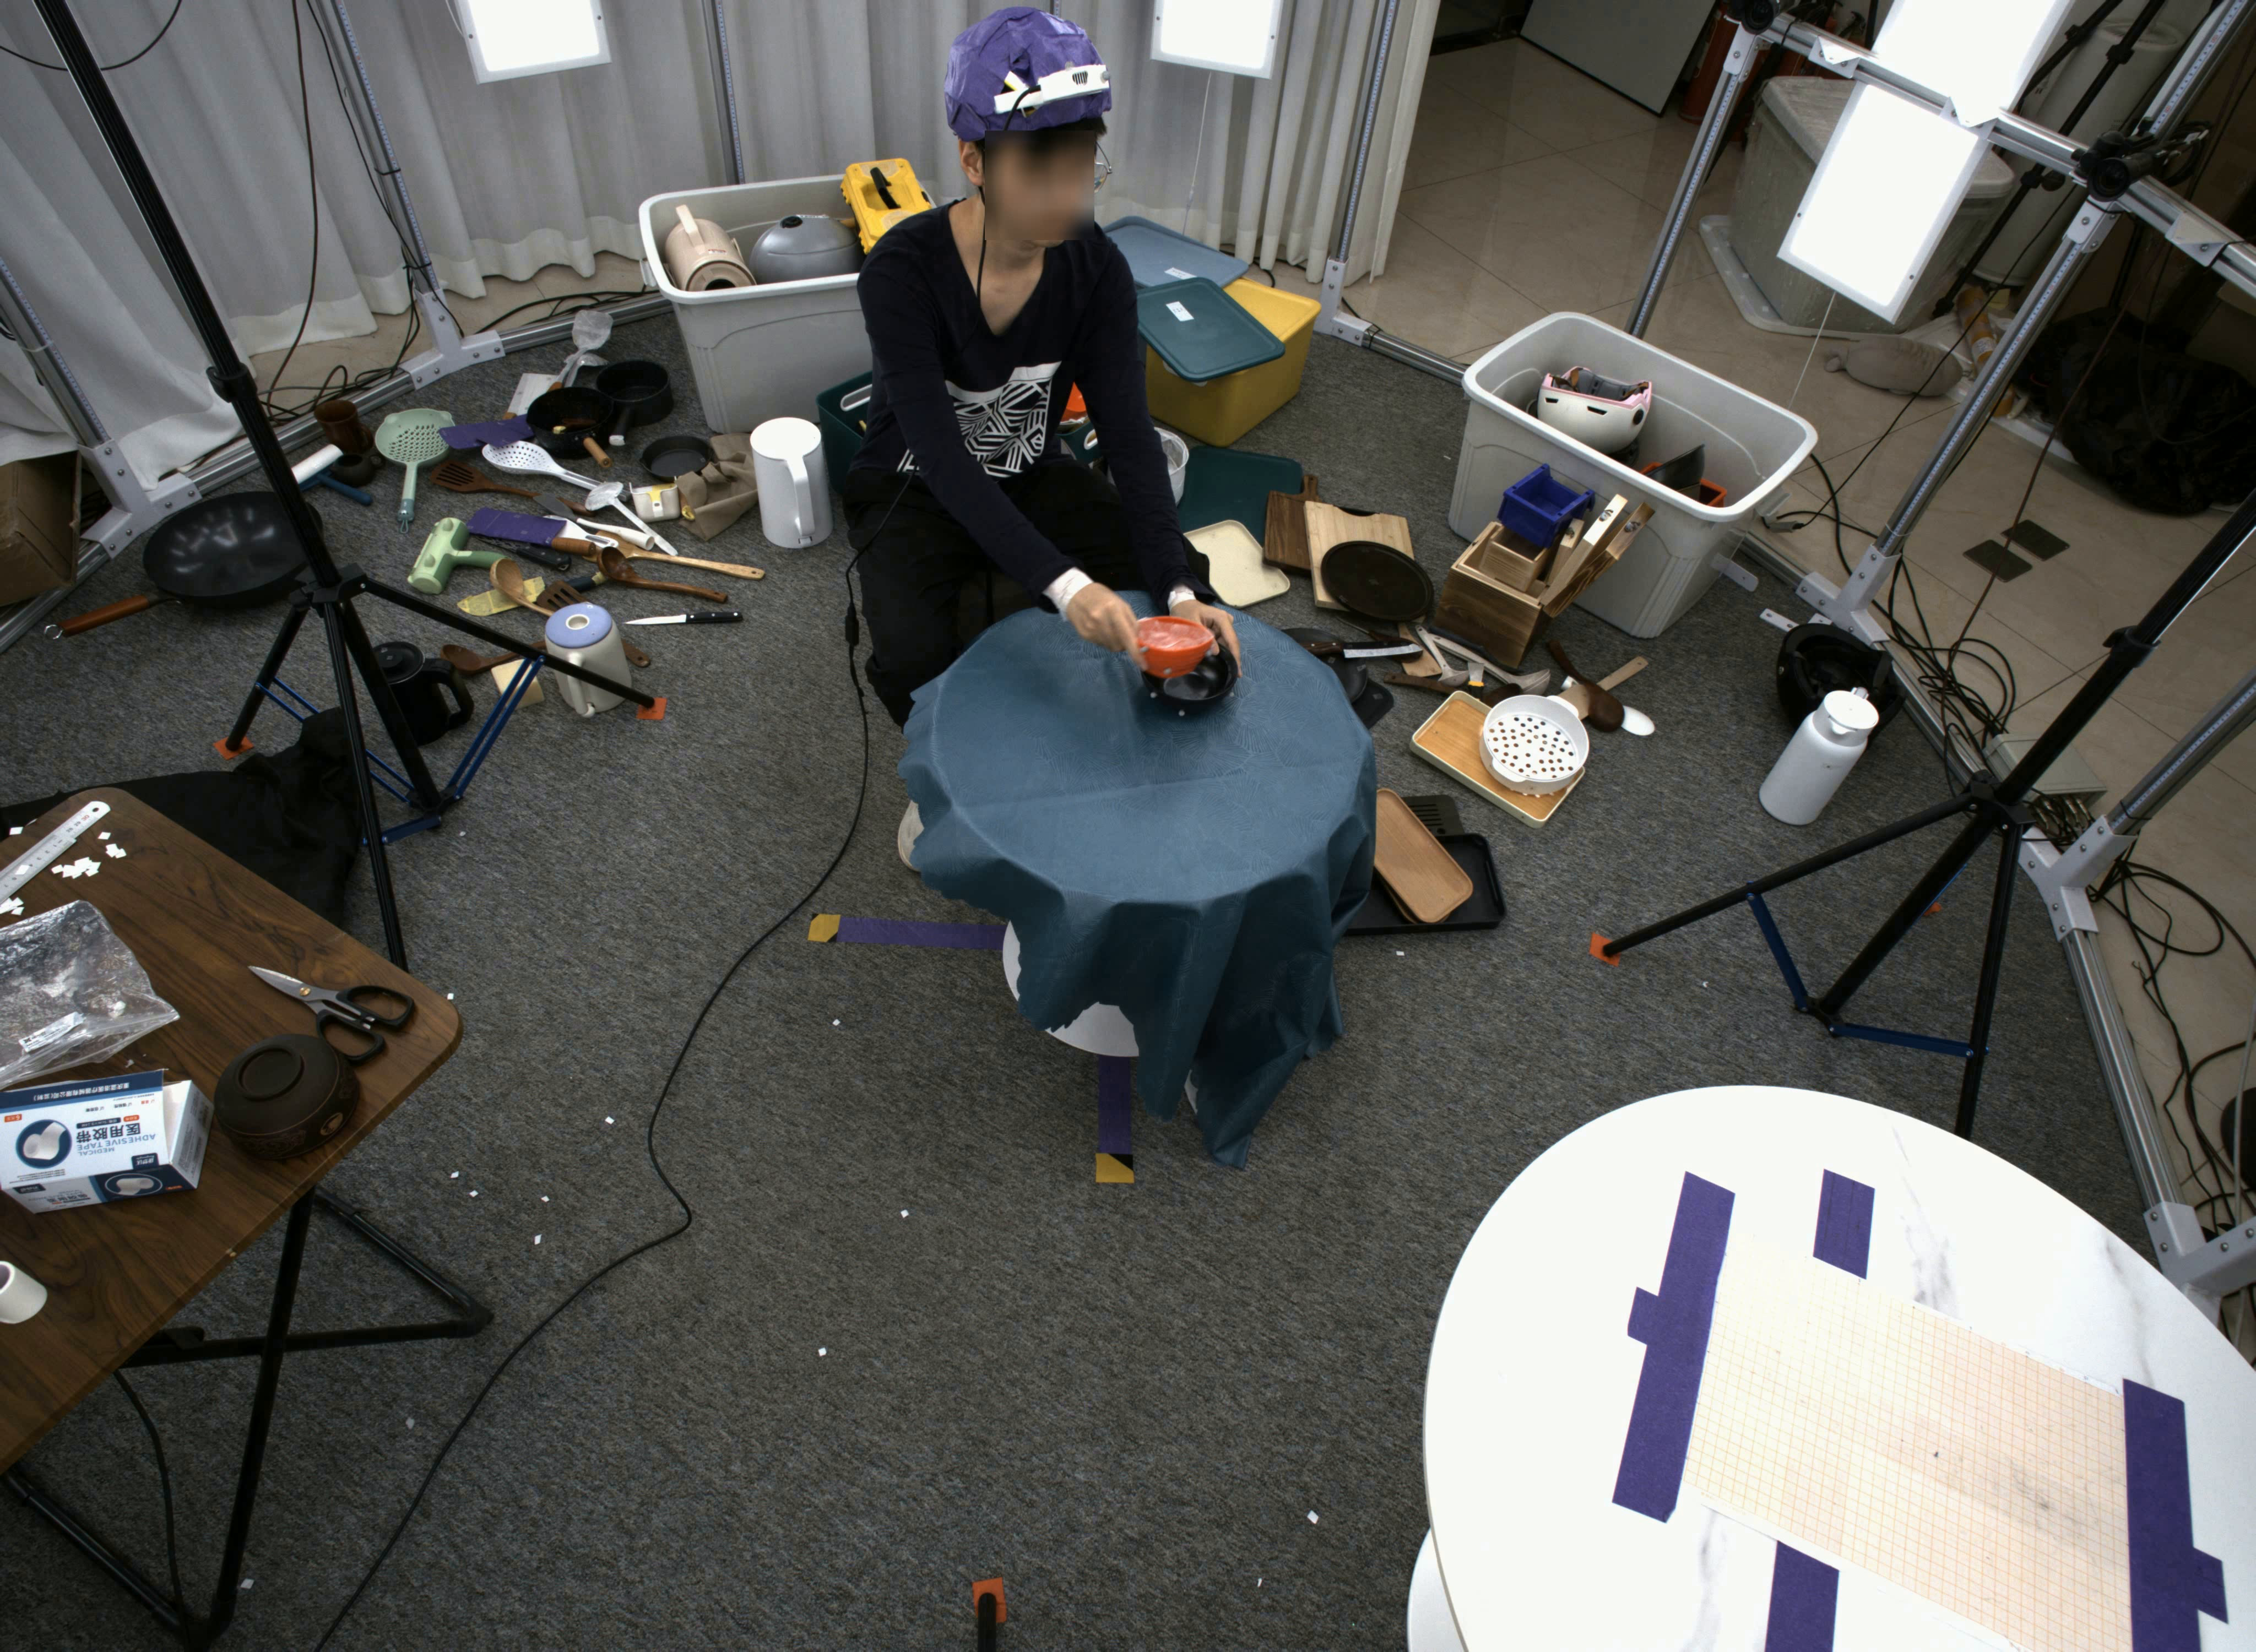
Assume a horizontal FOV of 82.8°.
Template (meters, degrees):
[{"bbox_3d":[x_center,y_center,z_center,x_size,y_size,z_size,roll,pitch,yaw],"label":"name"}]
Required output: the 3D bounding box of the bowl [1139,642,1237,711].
[{"bbox_3d":[0.084,-0.208,1.825,0.140,0.048,0.143,1,45,-1],"label":"bowl"}]

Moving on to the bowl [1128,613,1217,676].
[{"bbox_3d":[0.057,-0.241,1.725,0.119,0.050,0.121,3,31,-2],"label":"bowl"}]
